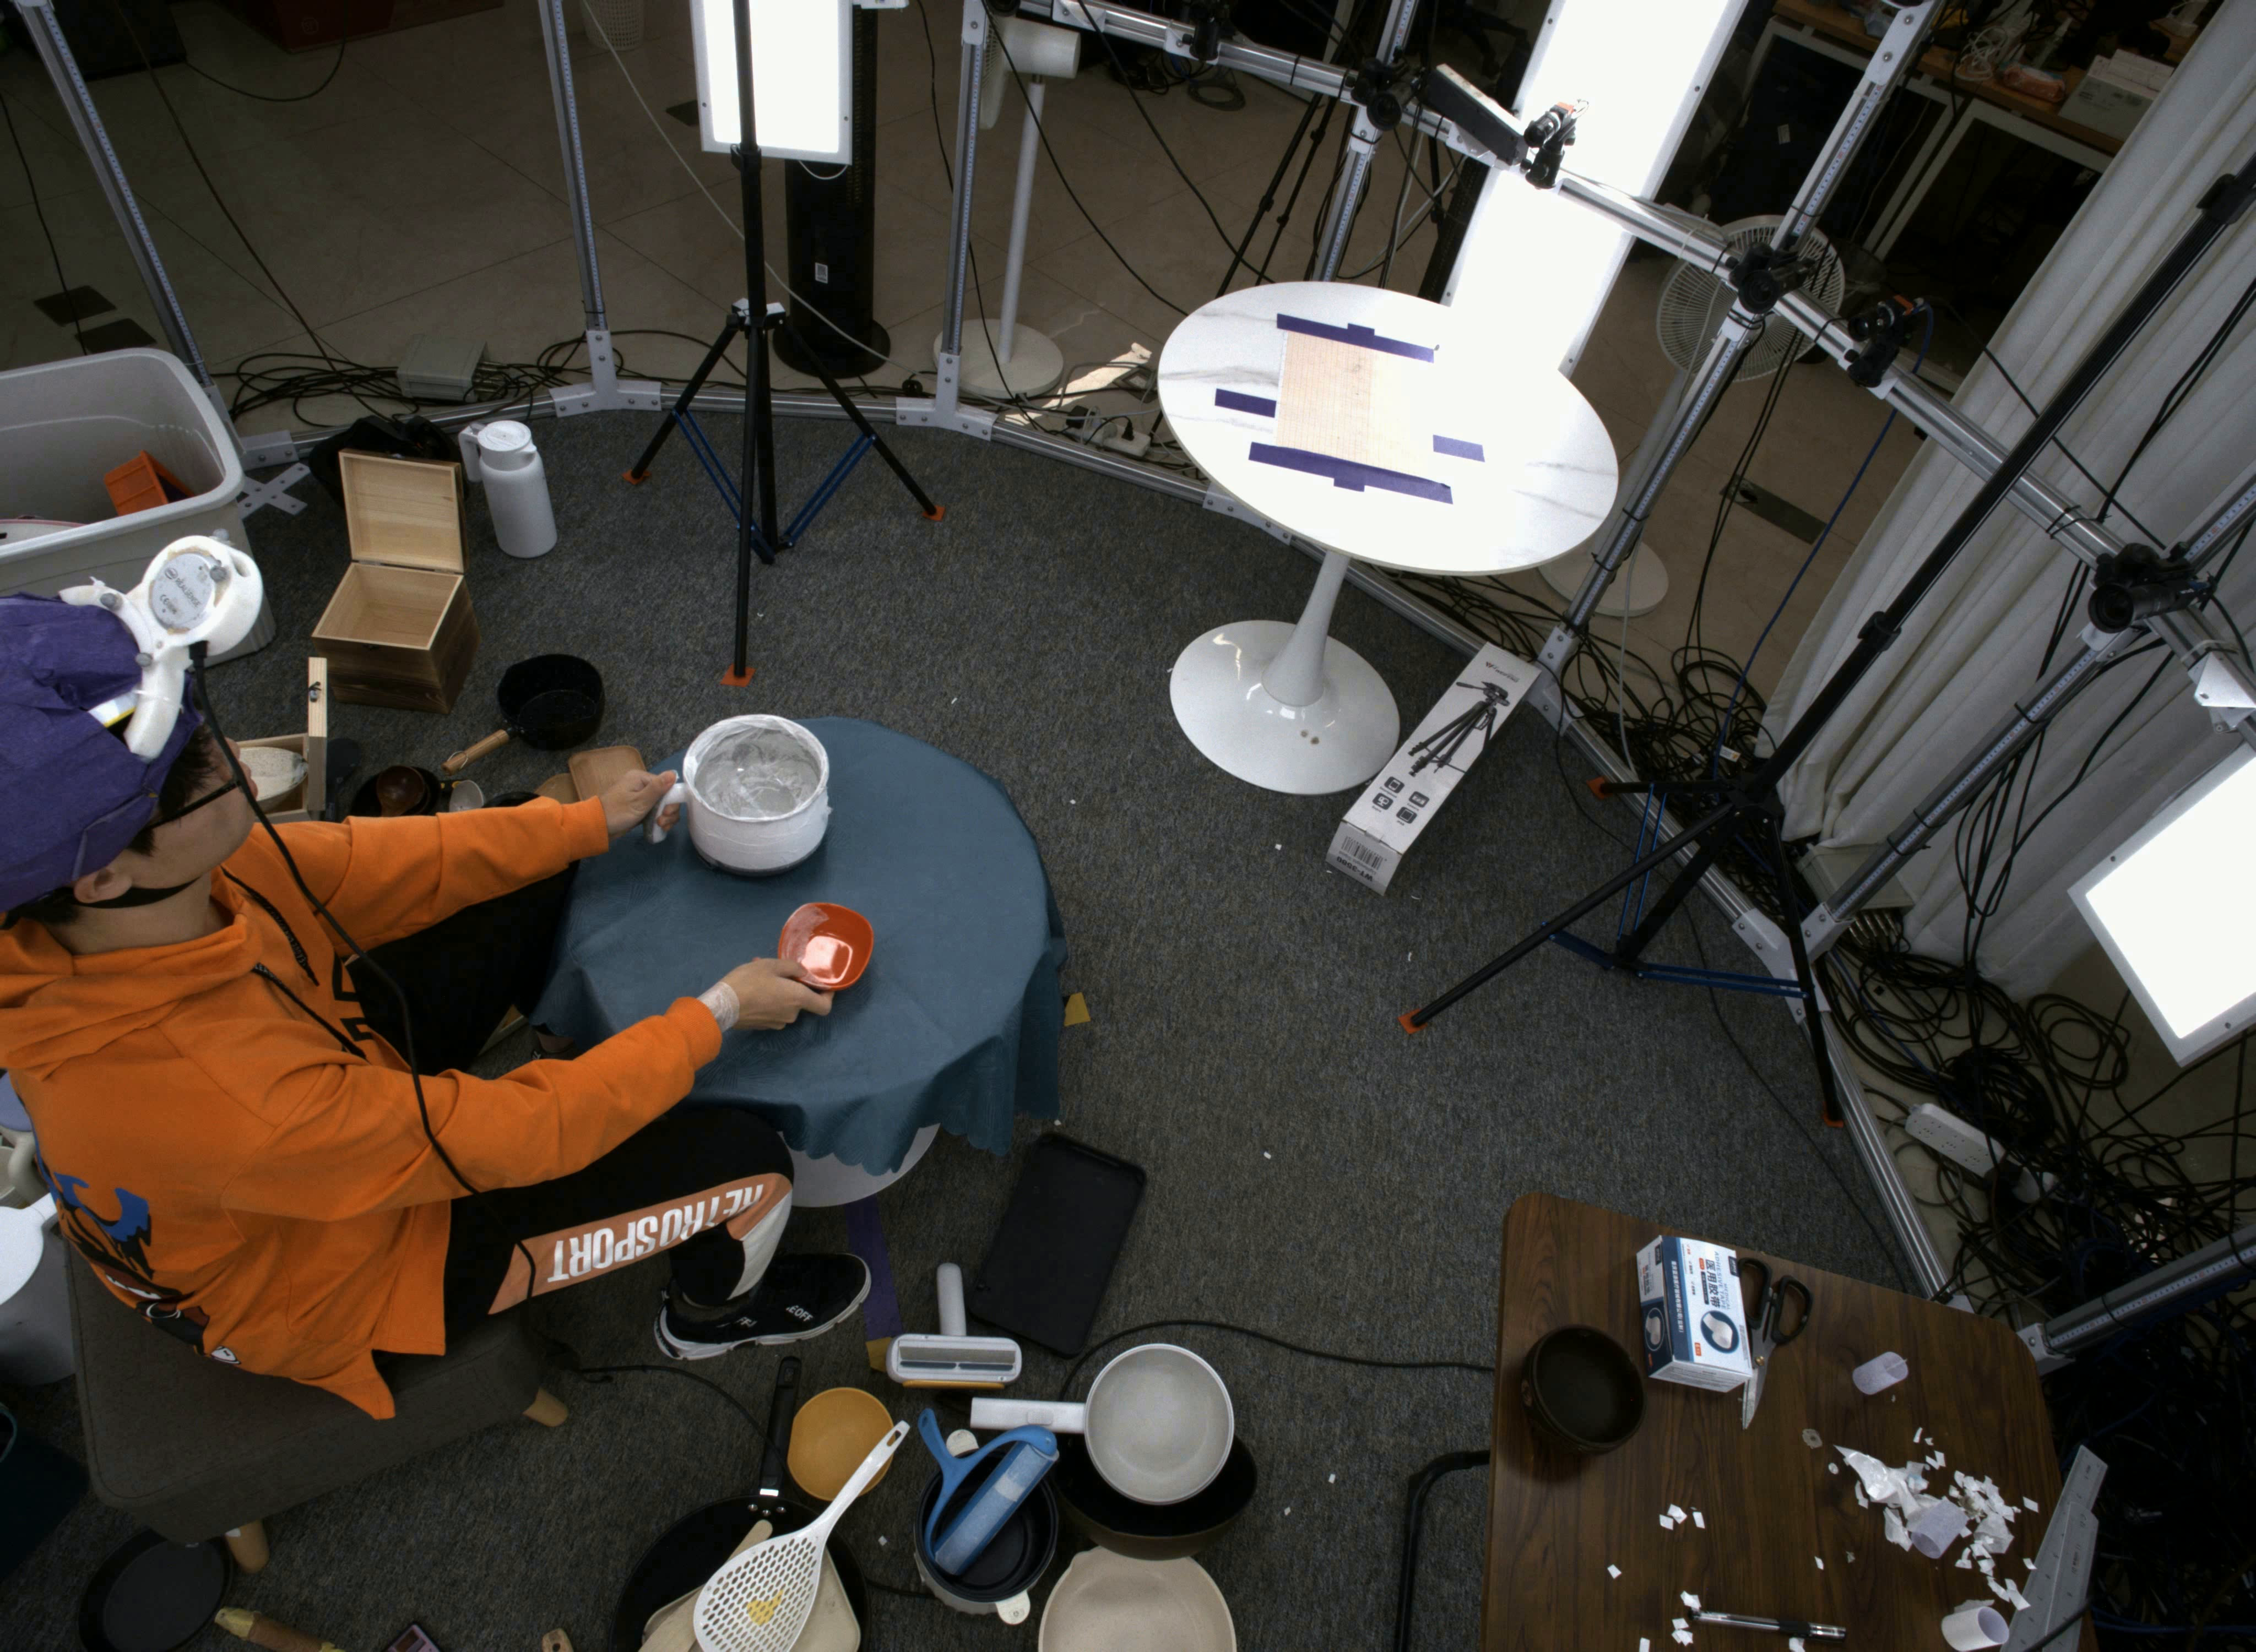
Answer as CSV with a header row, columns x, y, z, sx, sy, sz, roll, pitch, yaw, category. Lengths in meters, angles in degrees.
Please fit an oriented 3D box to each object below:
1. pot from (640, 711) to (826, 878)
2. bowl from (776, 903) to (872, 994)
x,y,z,sx,sy,sz,roll,pitch,yaw,category
-0.498,-0.032,1.626,0.235,0.139,0.174,-9,54,-22,pot
-0.369,0.154,1.574,0.119,0.052,0.117,8,60,-13,bowl
